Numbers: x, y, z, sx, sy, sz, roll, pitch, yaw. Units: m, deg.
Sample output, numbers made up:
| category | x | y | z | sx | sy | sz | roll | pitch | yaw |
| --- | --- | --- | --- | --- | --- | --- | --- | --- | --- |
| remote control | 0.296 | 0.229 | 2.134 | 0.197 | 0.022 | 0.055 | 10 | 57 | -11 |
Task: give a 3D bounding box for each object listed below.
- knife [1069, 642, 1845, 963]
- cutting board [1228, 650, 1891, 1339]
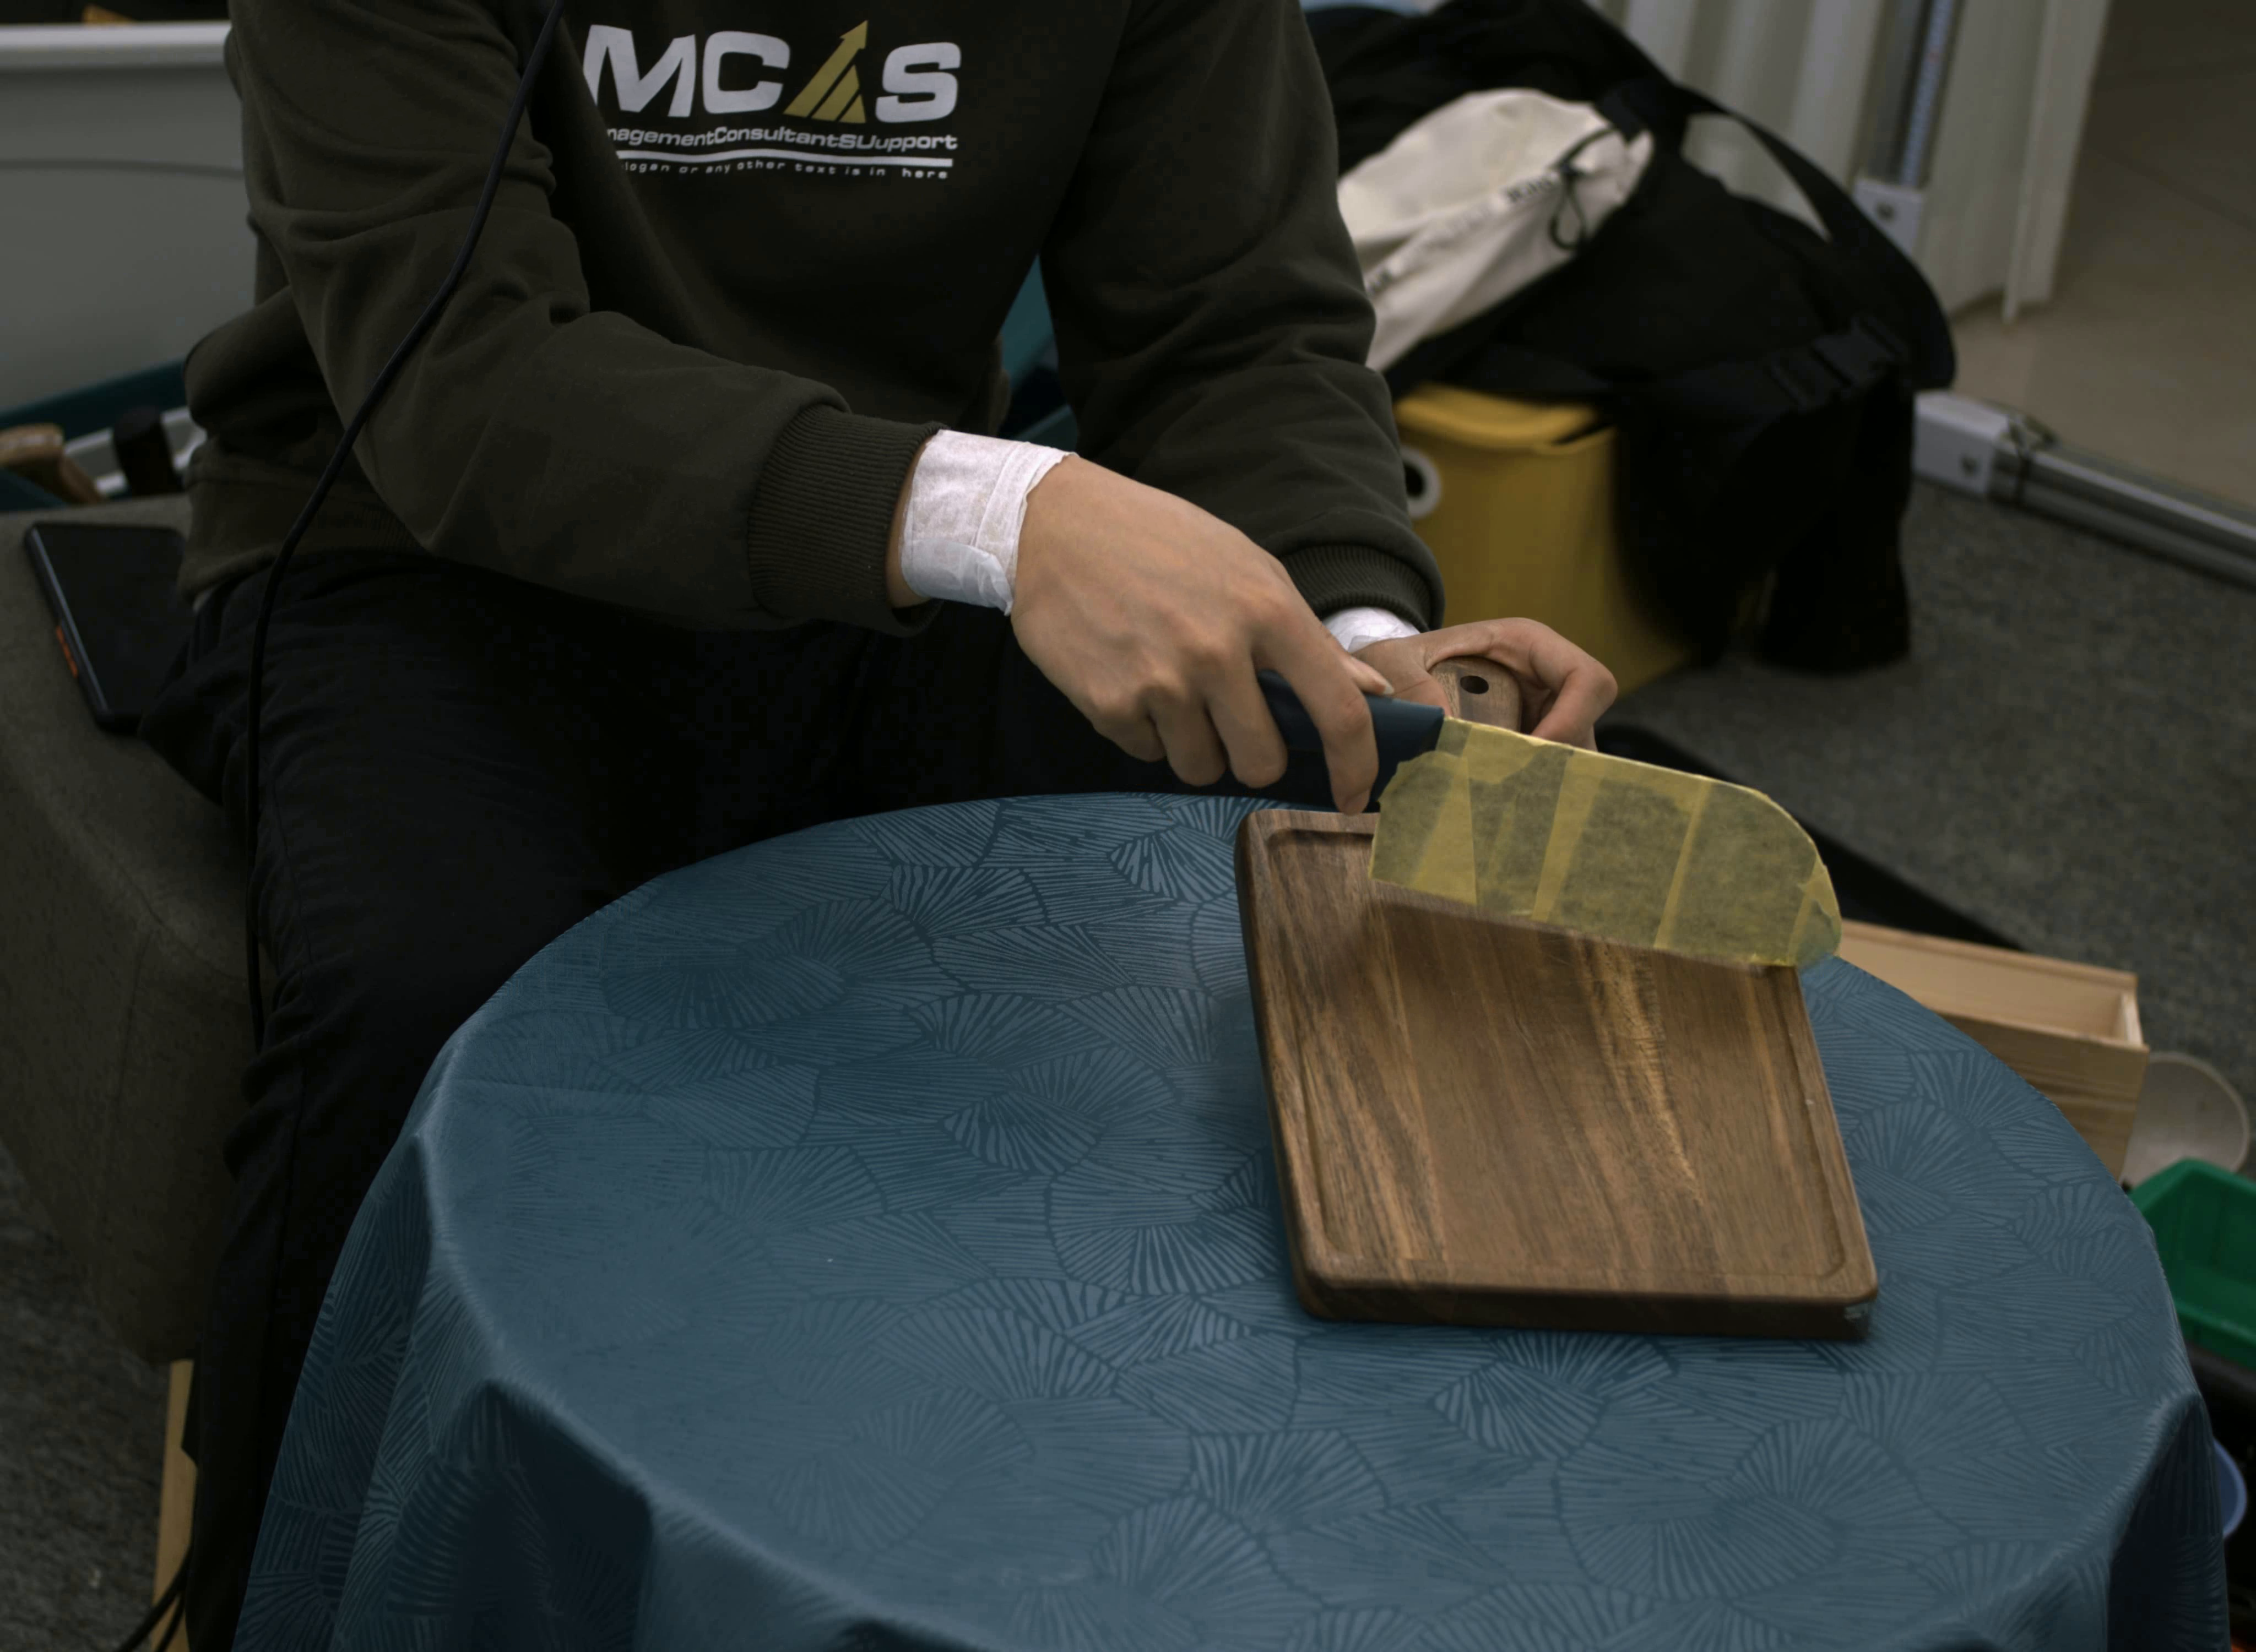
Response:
| category | x | y | z | sx | sy | sz | roll | pitch | yaw |
| --- | --- | --- | --- | --- | --- | --- | --- | --- | --- |
| knife | 0.115 | -0.008 | 1.881 | 0.289 | 0.081 | 0.027 | 17 | 27 | 4 |
| cutting board | 0.141 | 0.051 | 1.884 | 0.200 | 0.023 | 0.355 | 3 | 38 | -8 |
